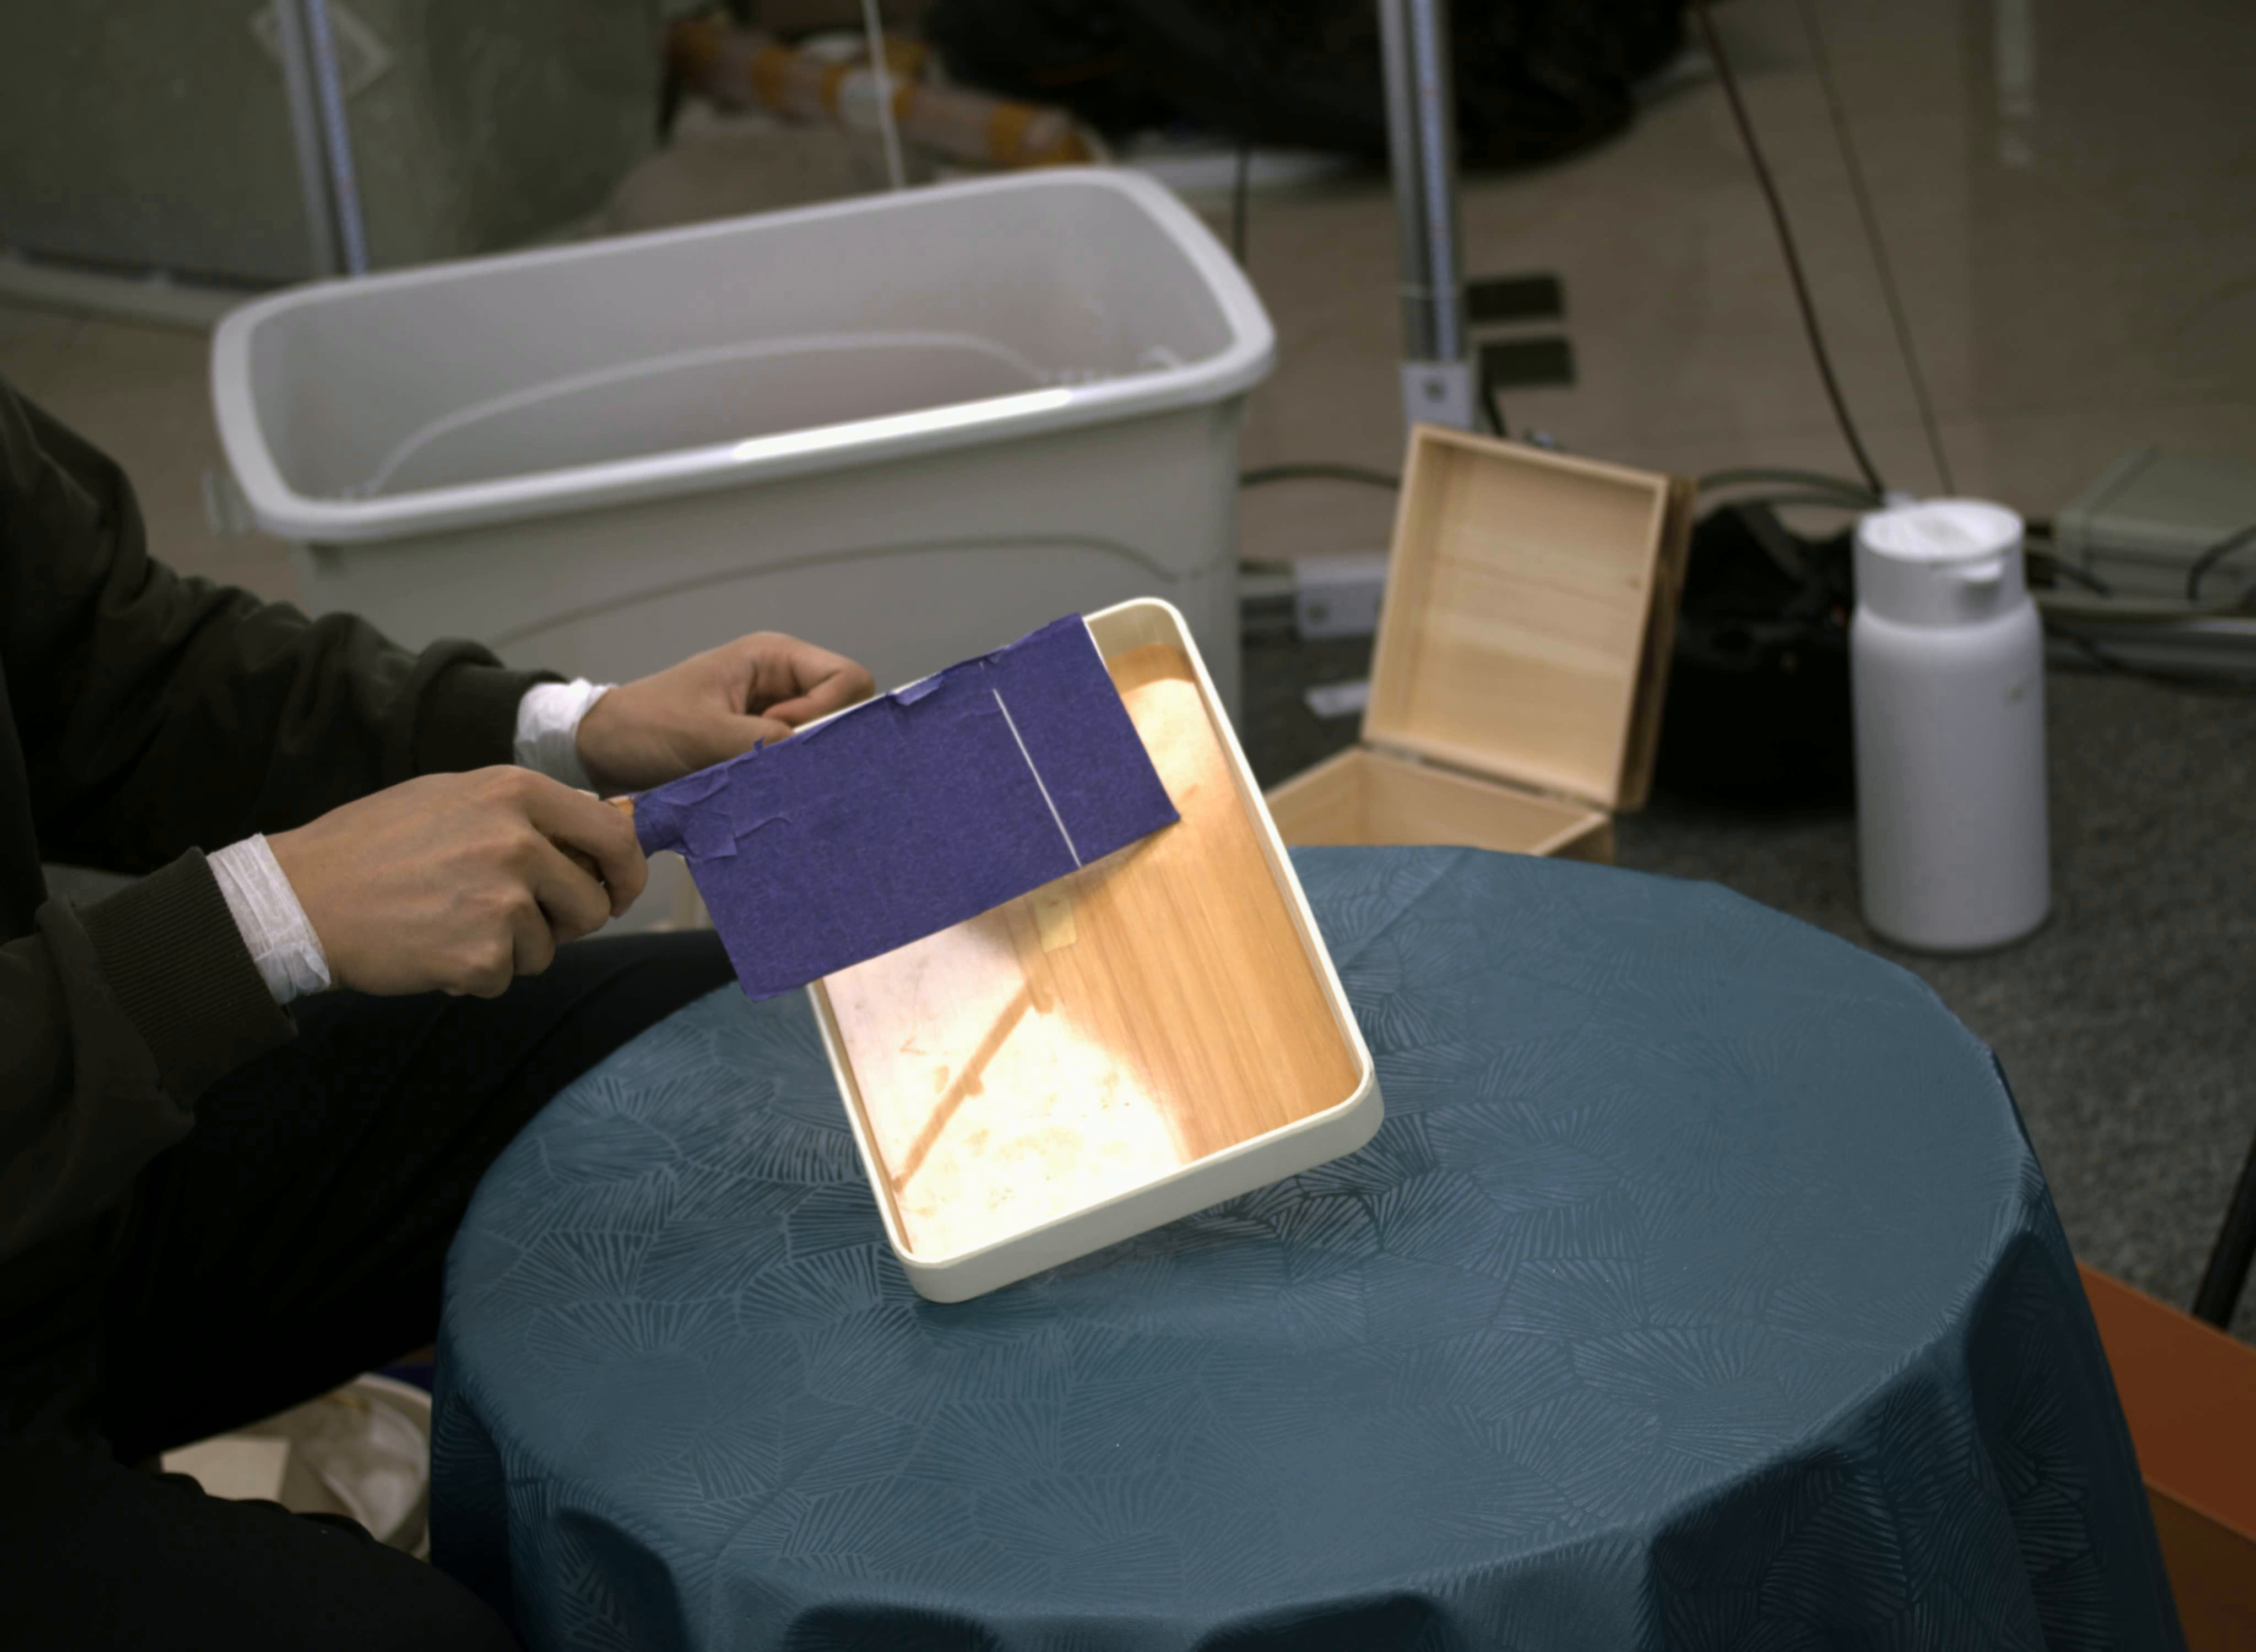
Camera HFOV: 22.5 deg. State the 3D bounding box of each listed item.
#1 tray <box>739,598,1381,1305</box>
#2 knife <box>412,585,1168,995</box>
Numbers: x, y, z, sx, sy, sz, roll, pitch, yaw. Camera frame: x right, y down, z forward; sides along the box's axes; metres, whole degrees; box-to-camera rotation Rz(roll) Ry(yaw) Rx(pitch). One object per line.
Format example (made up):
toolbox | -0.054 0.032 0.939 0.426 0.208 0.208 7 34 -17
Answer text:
tray | -0.031 0.043 2.182 0.191 0.028 0.295 -21 46 0
knife | -0.118 0.006 2.132 0.313 0.104 0.032 -25 -1 -29
